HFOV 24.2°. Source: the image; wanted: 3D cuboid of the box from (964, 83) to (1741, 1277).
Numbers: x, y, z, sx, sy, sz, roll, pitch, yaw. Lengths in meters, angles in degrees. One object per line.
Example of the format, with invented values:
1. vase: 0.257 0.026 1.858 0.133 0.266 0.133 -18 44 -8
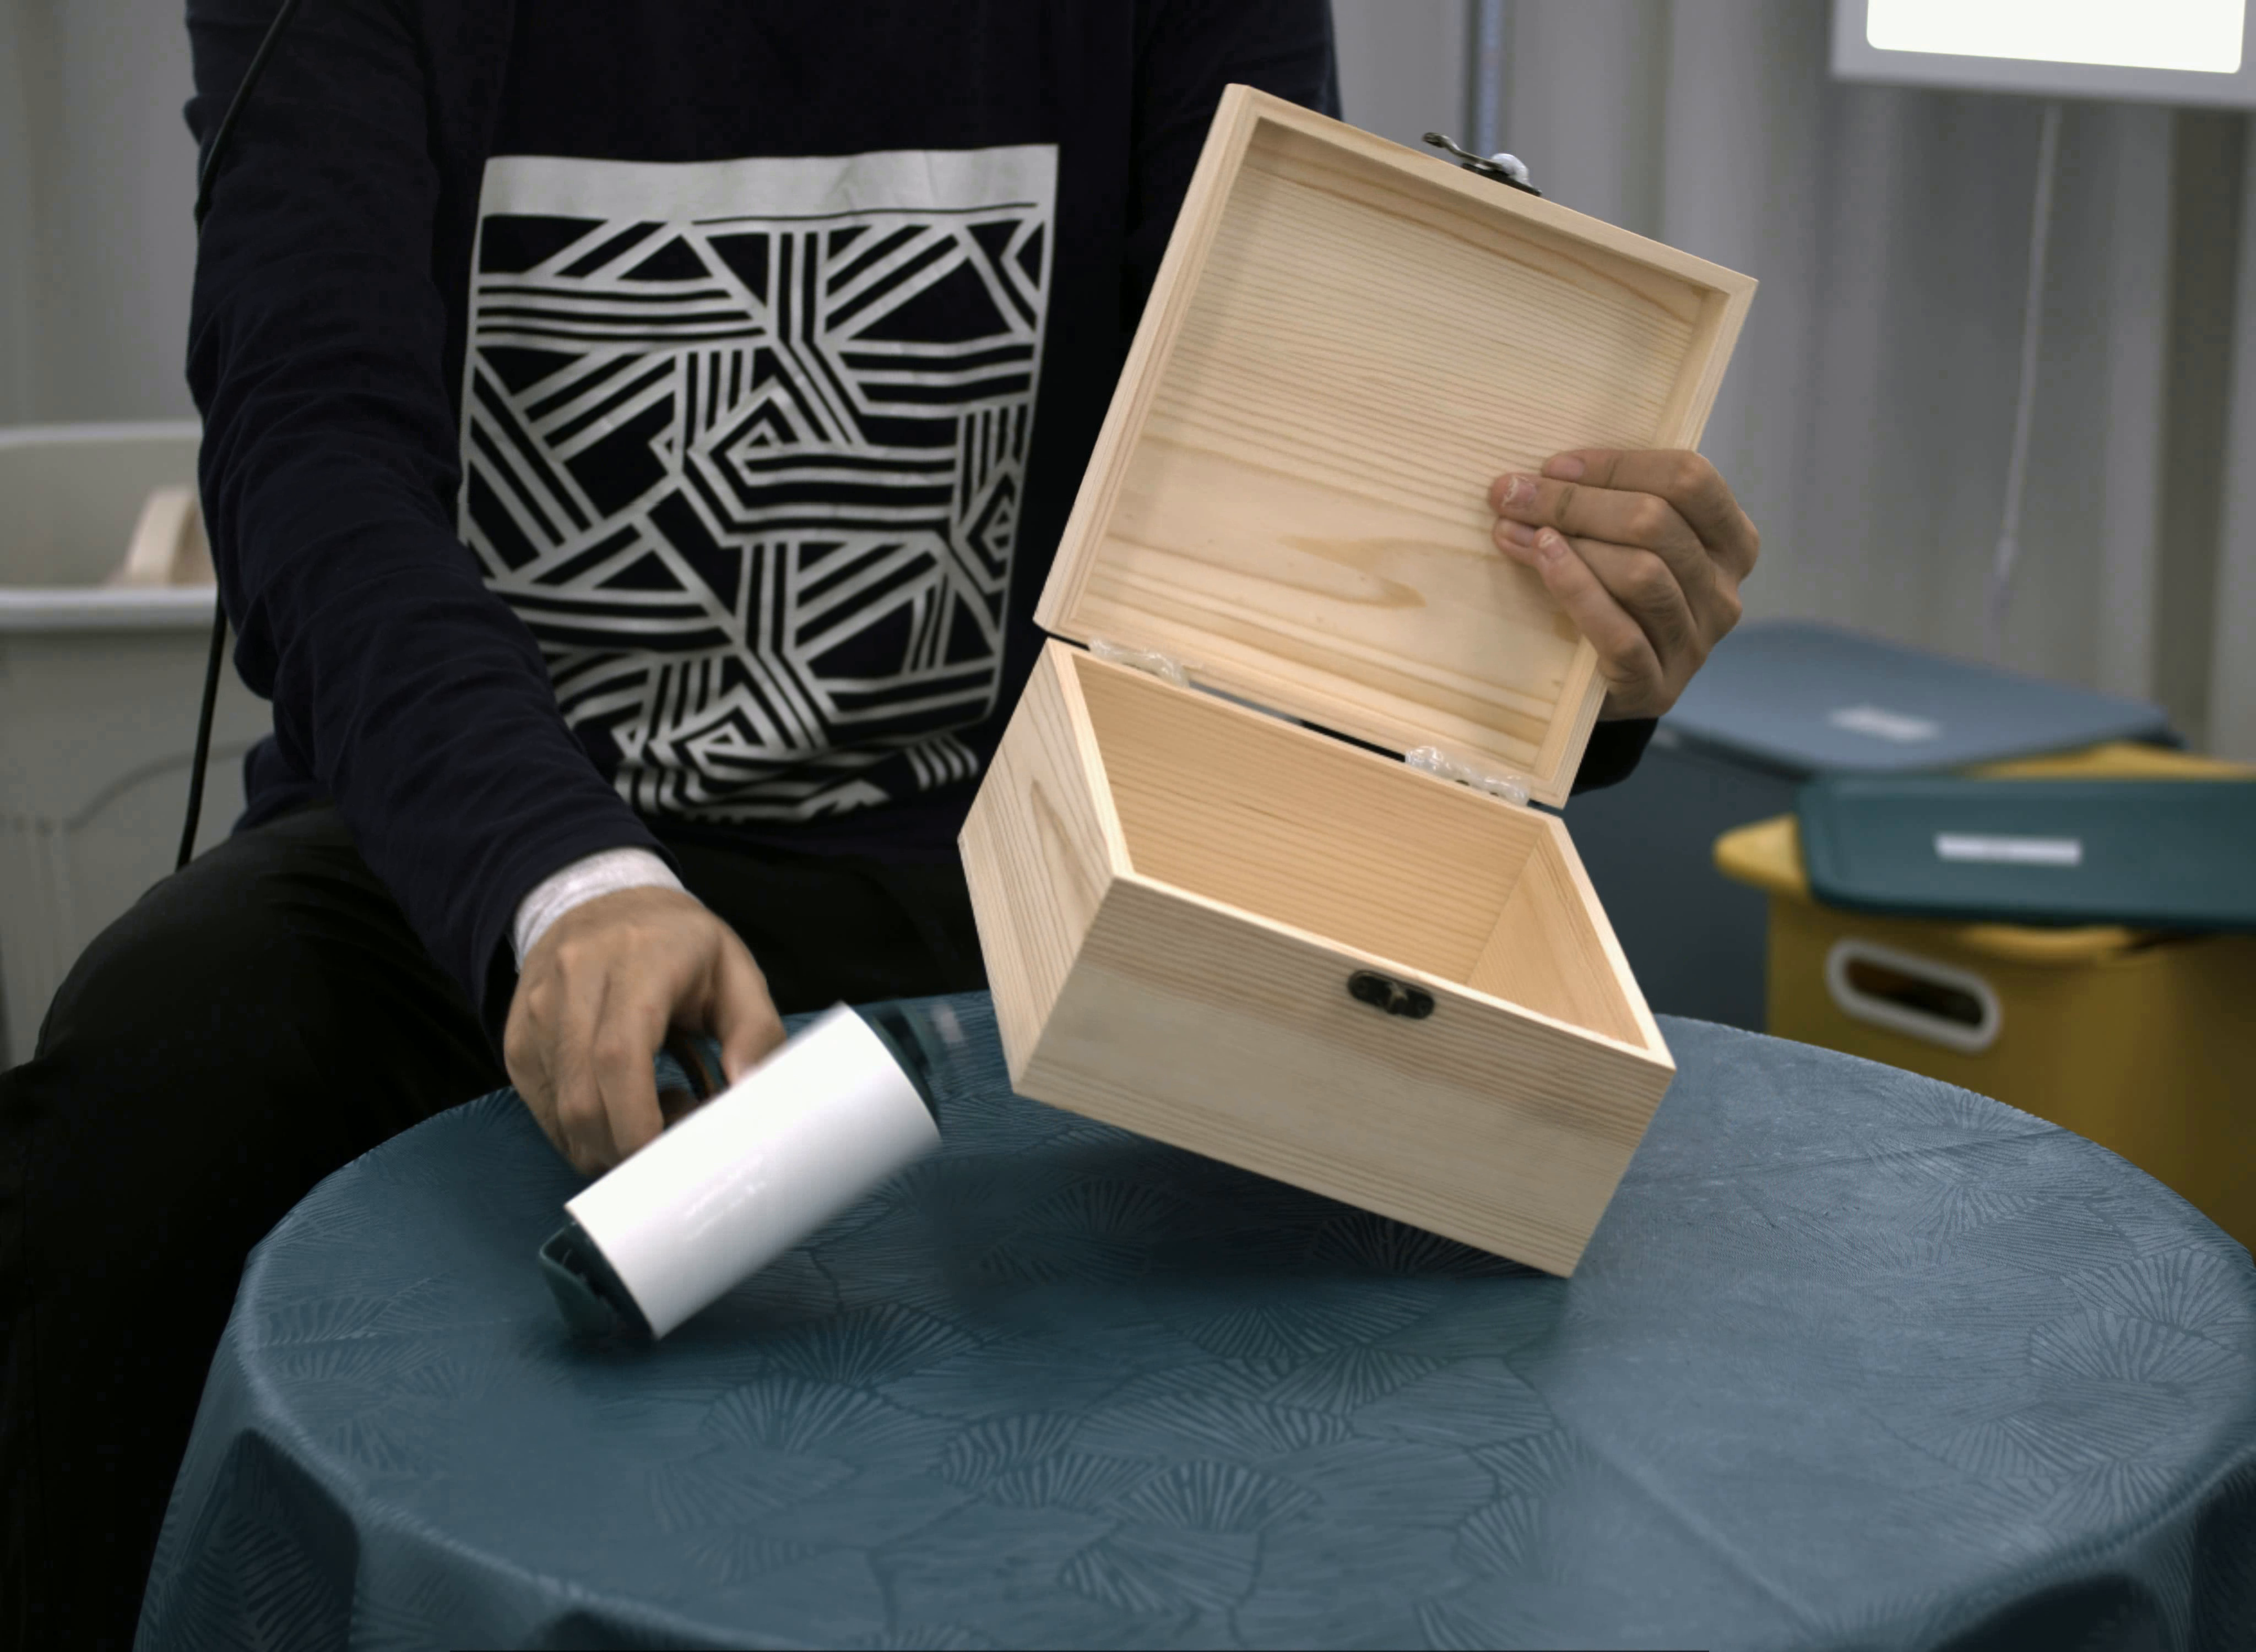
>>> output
1. box: 0.082 -0.051 1.596 0.182 0.254 0.262 17 21 -16

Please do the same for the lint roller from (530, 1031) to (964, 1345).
1. lint roller: -0.132 0.085 1.555 0.134 0.049 0.178 -30 26 -14
